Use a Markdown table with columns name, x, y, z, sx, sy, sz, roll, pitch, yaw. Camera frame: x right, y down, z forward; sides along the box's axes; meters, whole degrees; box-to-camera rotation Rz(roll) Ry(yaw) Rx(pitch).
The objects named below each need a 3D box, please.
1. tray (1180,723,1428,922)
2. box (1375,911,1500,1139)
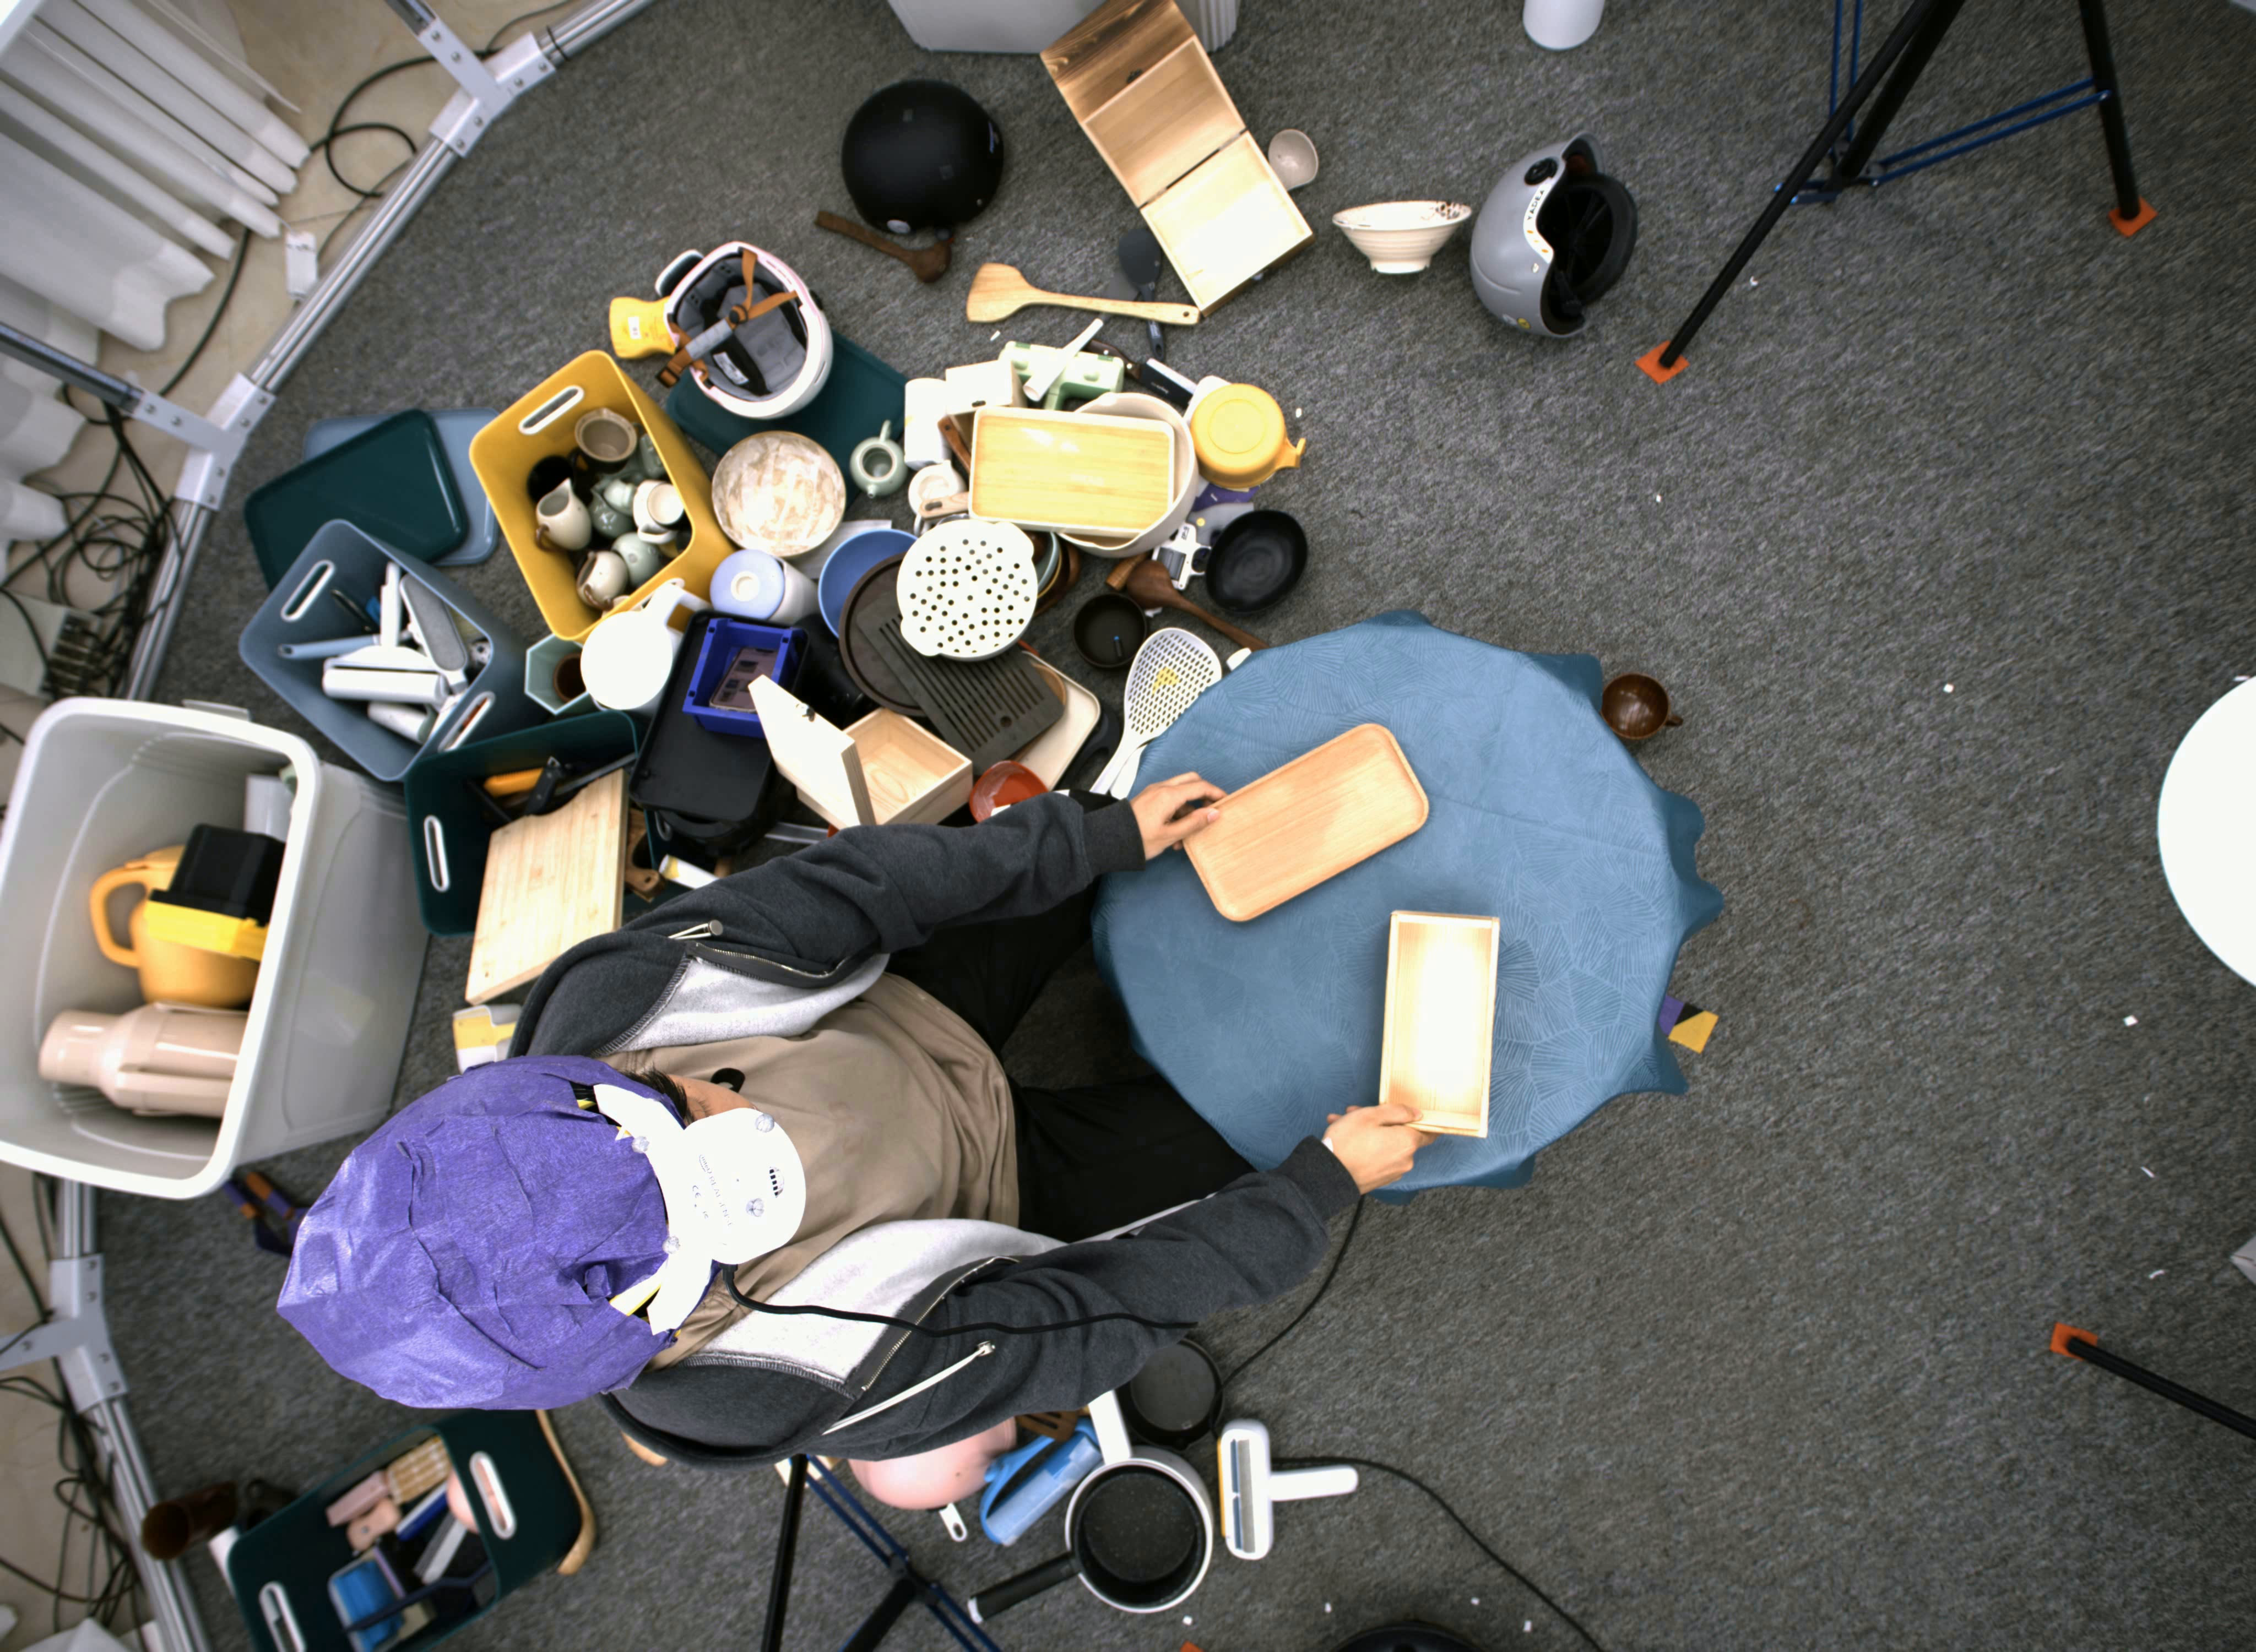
| name | x | y | z | sx | sy | sz | roll | pitch | yaw |
| --- | --- | --- | --- | --- | --- | --- | --- | --- | --- |
| tray | 0.185 | -0.004 | 1.456 | 0.251 | 0.023 | 0.130 | -28 | 87 | 4 |
| box | 0.312 | 0.194 | 1.386 | 0.108 | 0.080 | 0.212 | 4 | 93 | 15 |
